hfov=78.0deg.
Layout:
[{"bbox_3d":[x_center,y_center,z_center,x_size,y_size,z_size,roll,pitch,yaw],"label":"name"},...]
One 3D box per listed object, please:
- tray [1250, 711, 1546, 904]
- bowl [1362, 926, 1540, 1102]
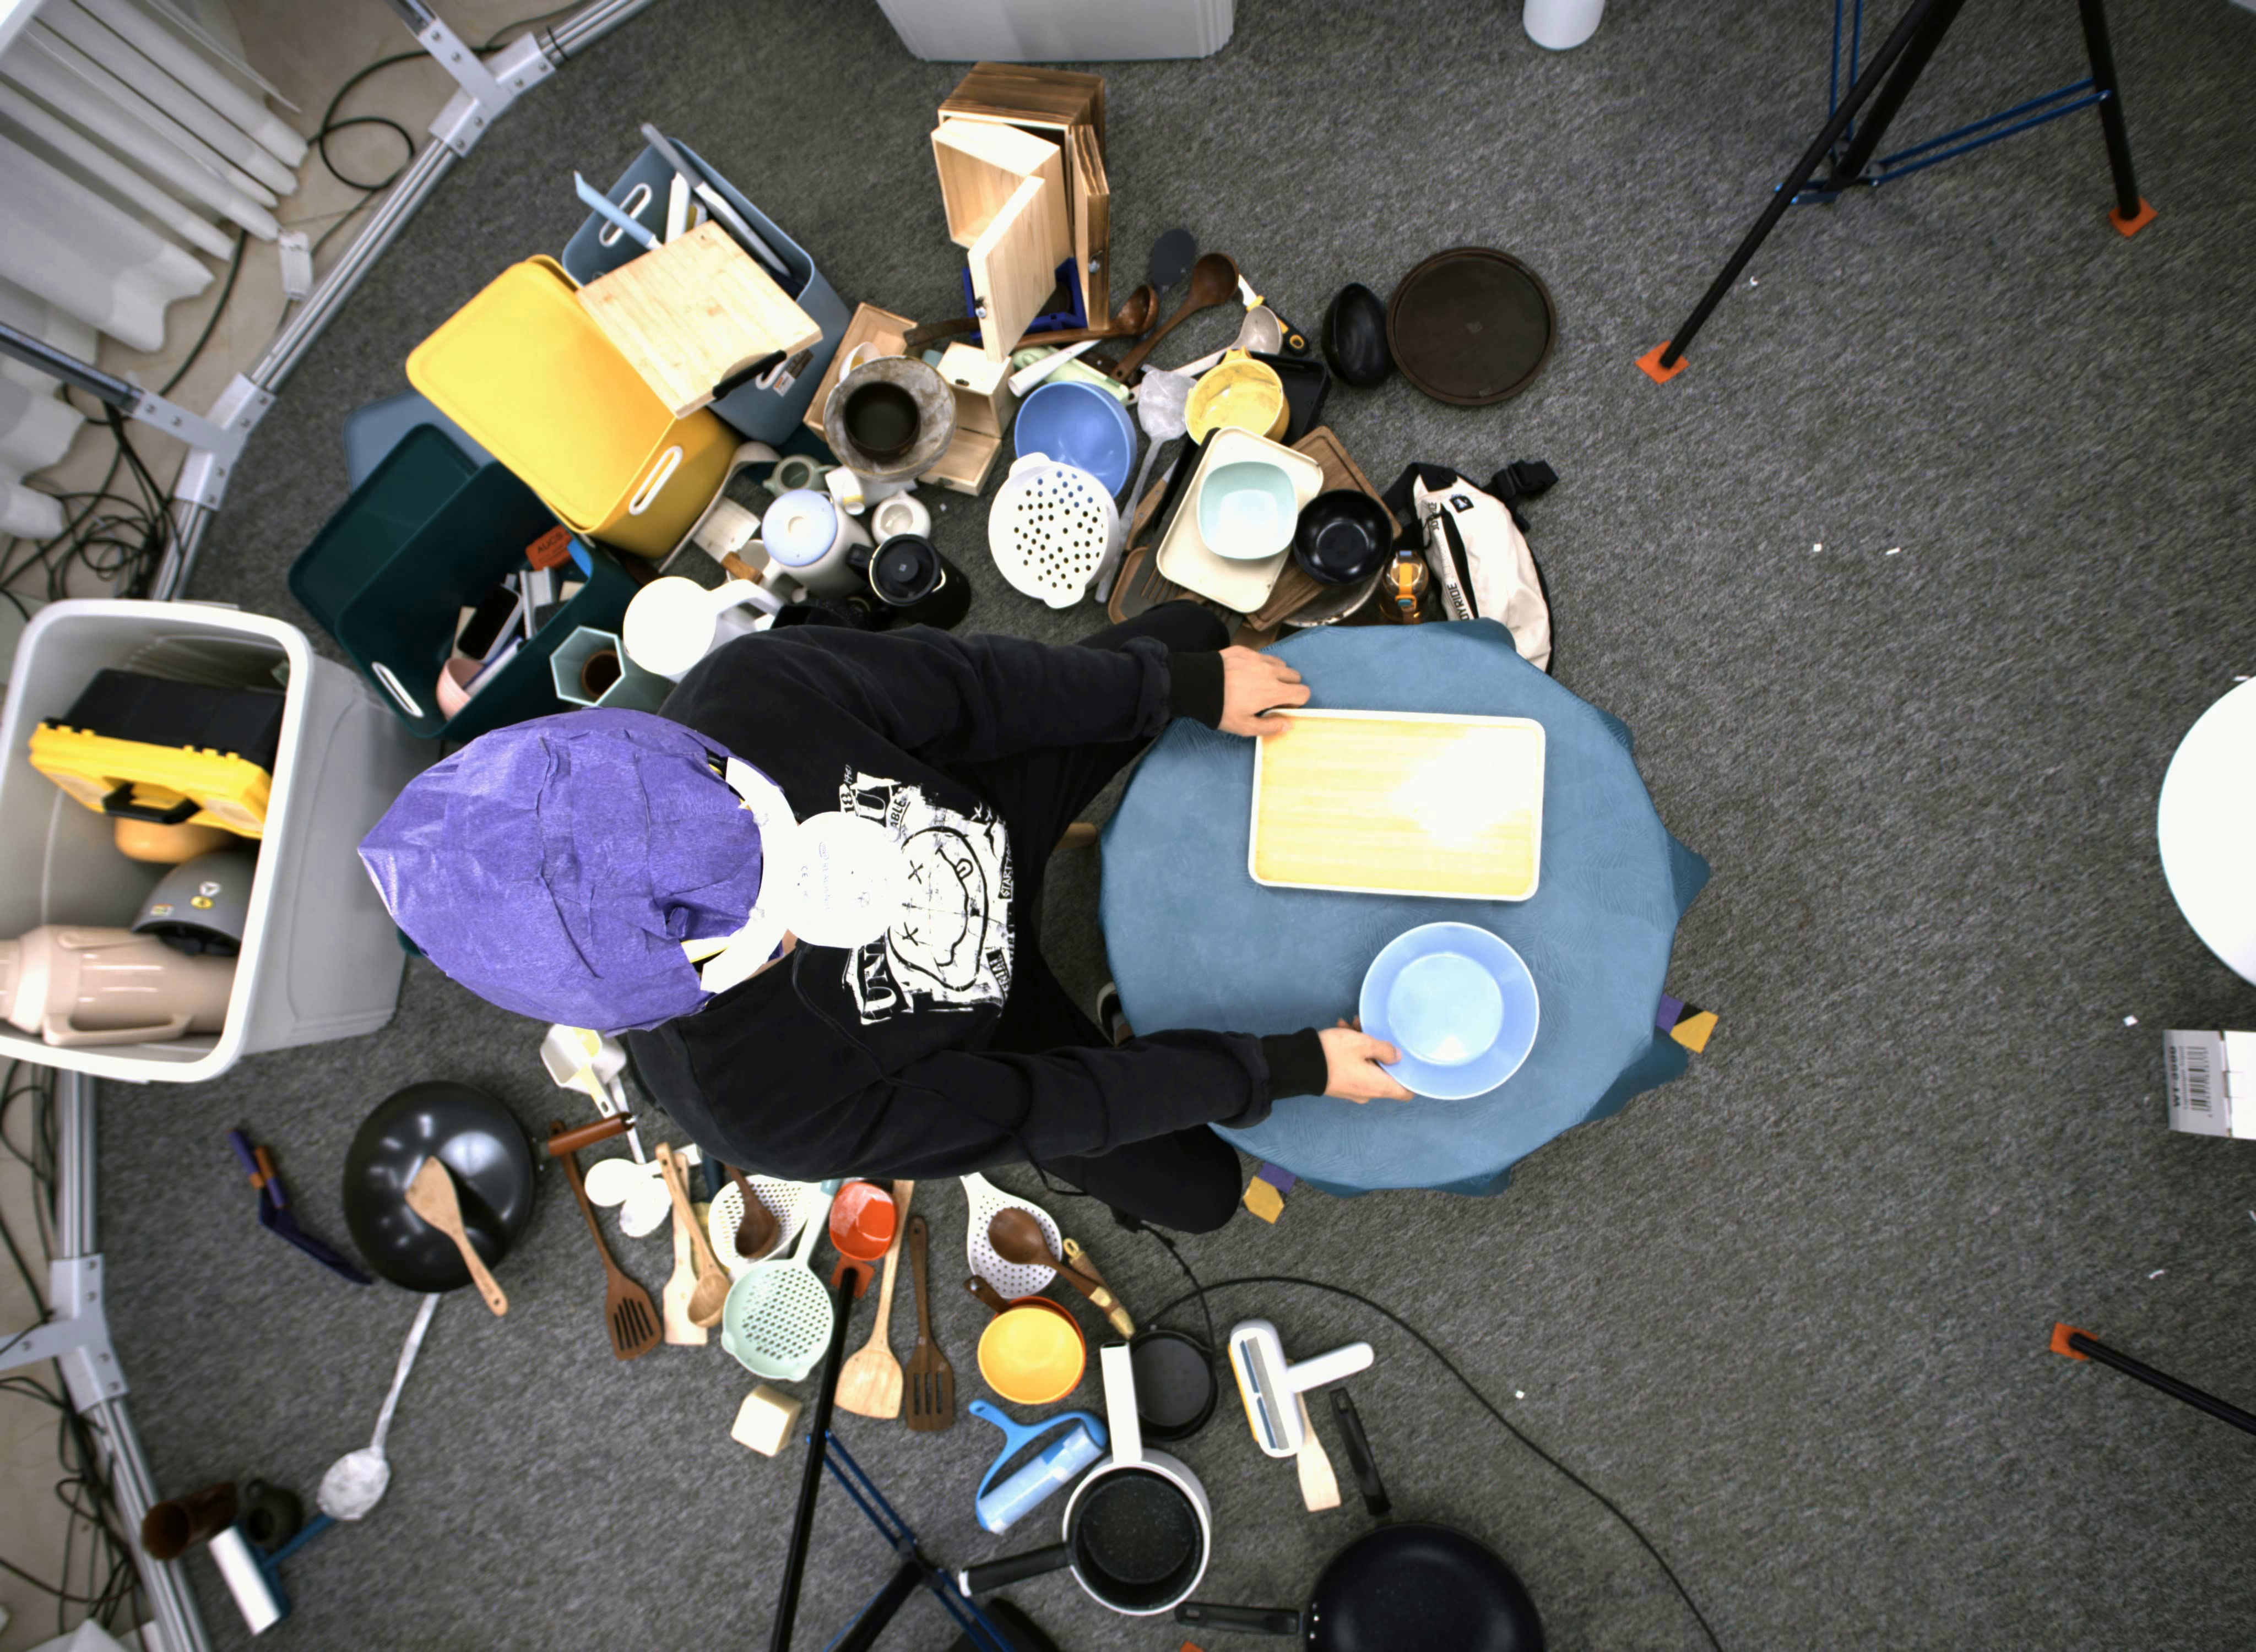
[{"bbox_3d":[0.283,-0.022,1.456,0.301,0.027,0.191,3,87,10],"label":"tray"},{"bbox_3d":[0.327,0.190,1.410,0.177,0.070,0.175,-1,84,10],"label":"bowl"}]
